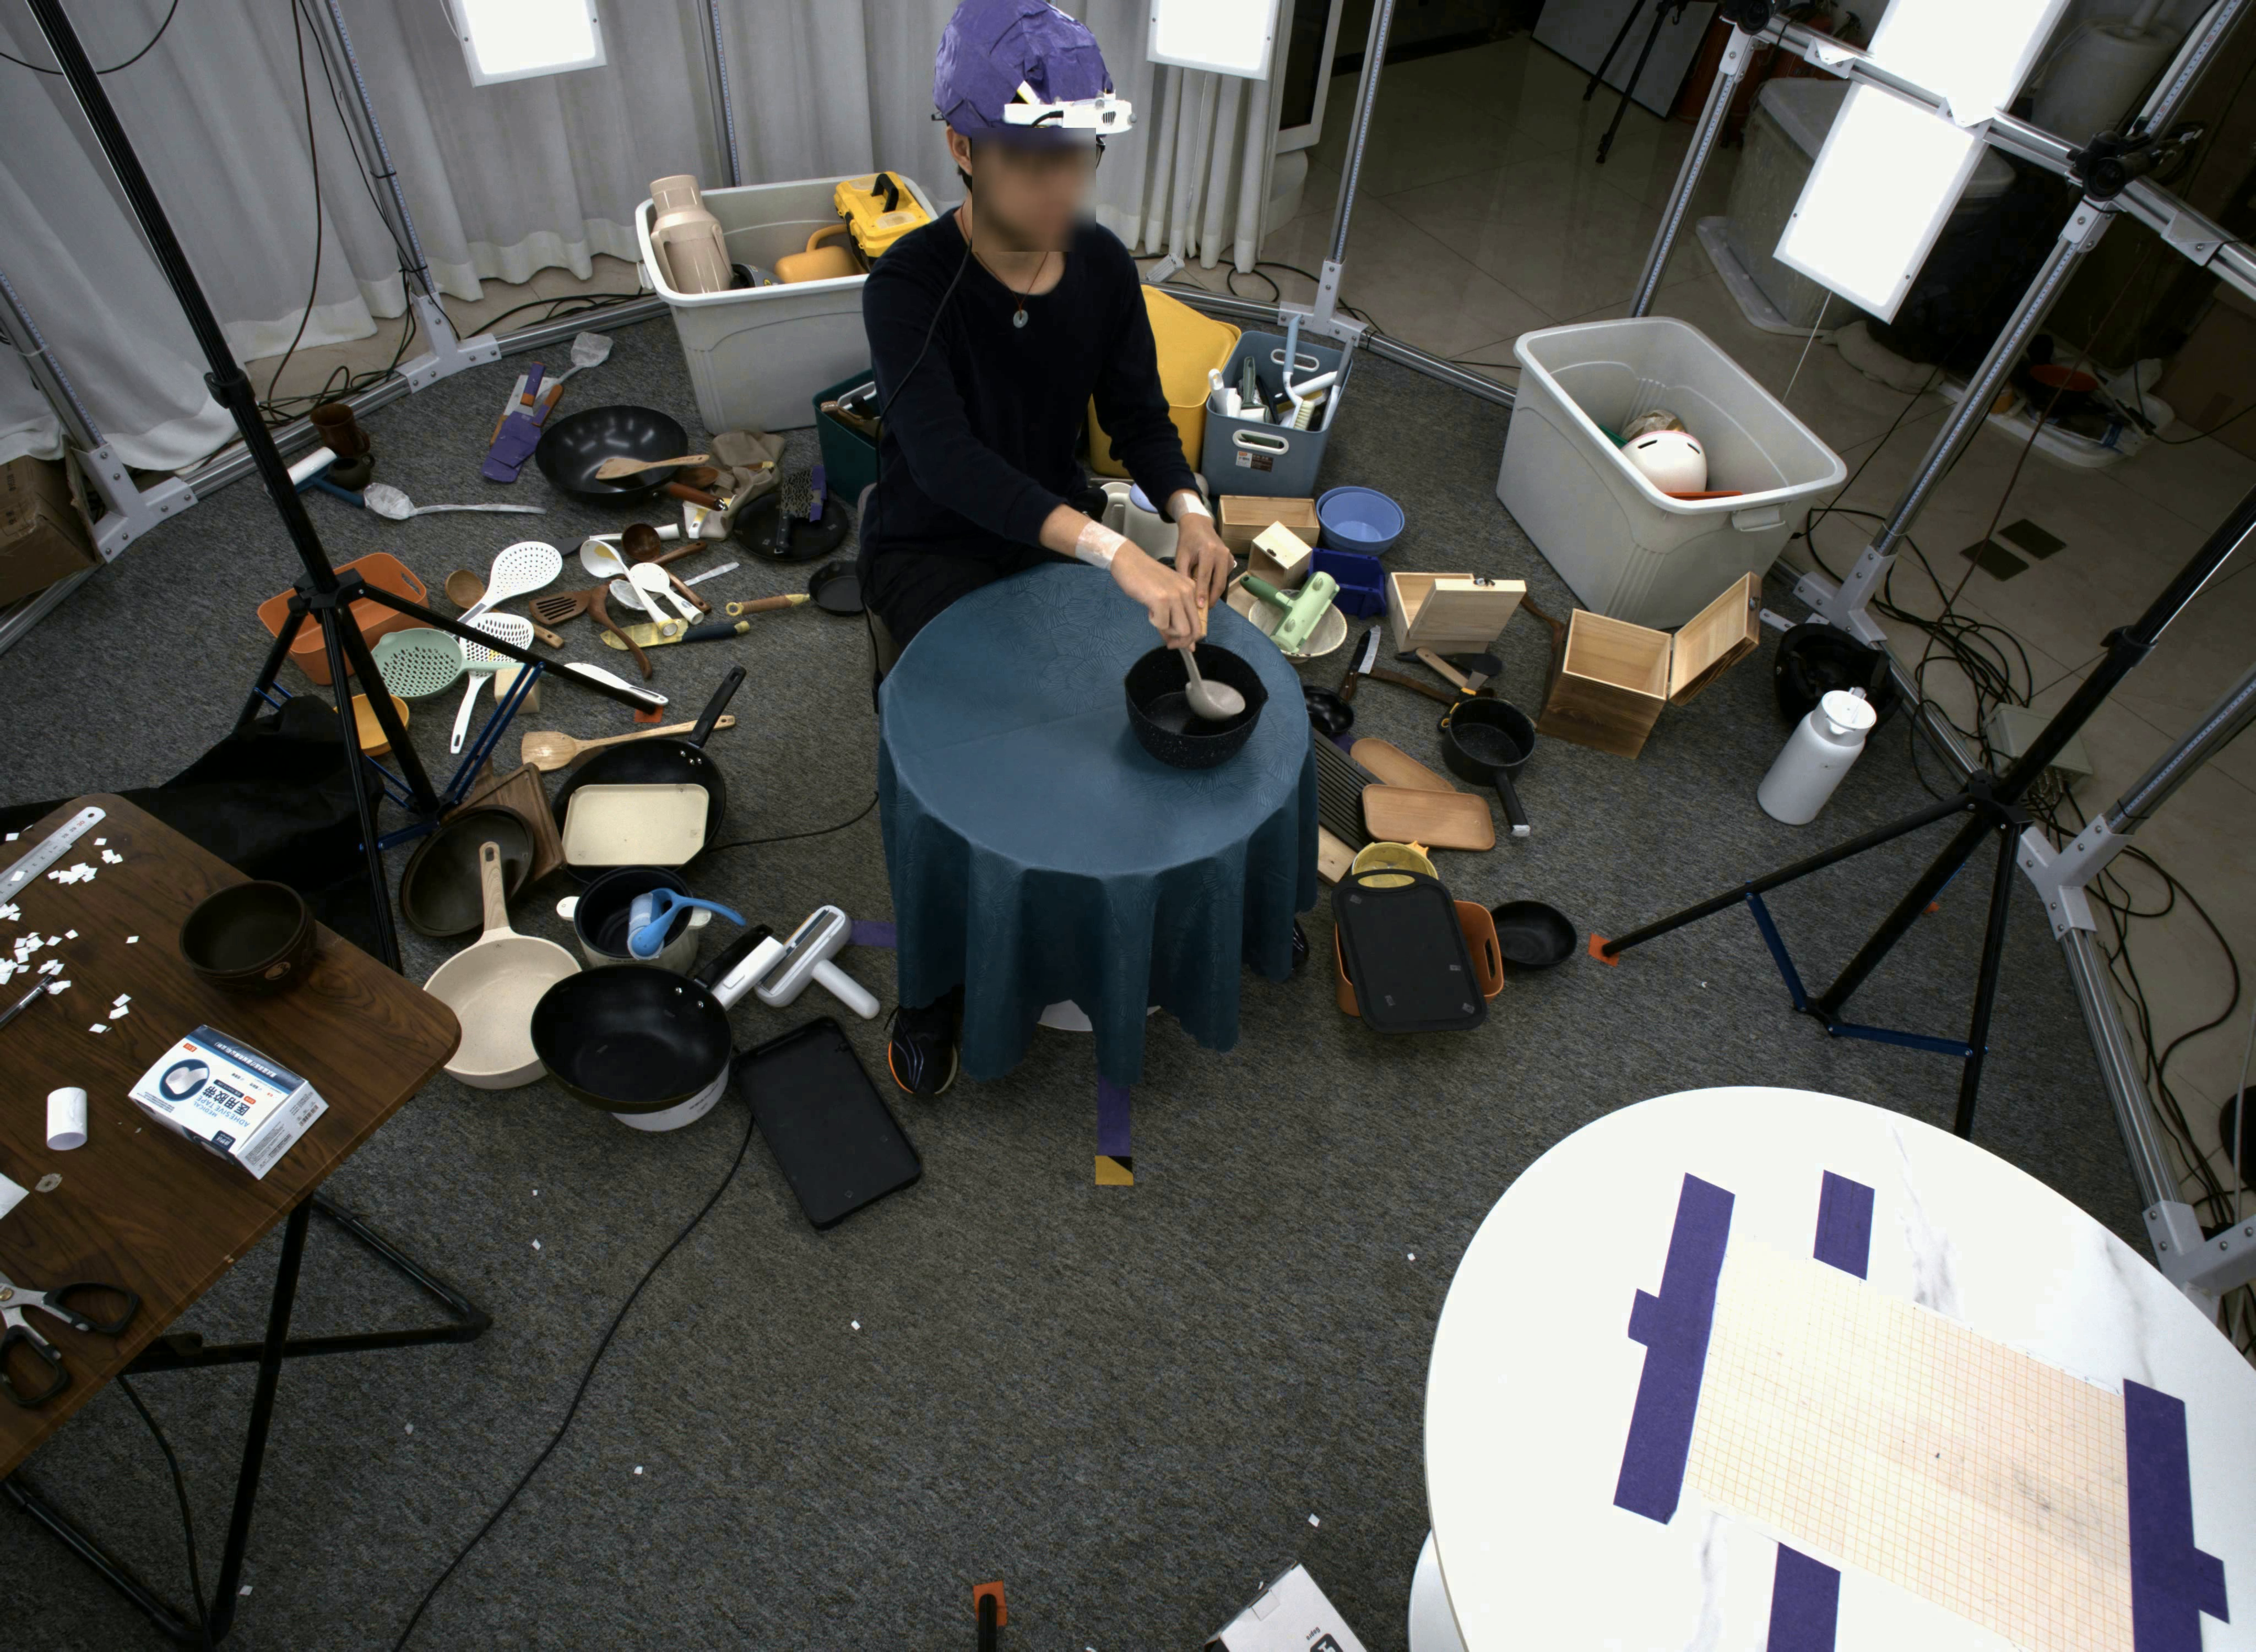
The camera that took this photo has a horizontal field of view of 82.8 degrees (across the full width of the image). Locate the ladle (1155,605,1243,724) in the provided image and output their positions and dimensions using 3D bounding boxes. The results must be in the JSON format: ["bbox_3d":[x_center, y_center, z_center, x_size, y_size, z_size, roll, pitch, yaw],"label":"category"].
[{"bbox_3d":[0.091,-0.224,1.674,0.070,0.269,0.091,-44,59,-11],"label":"ladle"}]

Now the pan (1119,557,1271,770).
[{"bbox_3d":[0.093,-0.229,1.804,0.207,0.105,0.351,3,50,1],"label":"pan"}]
